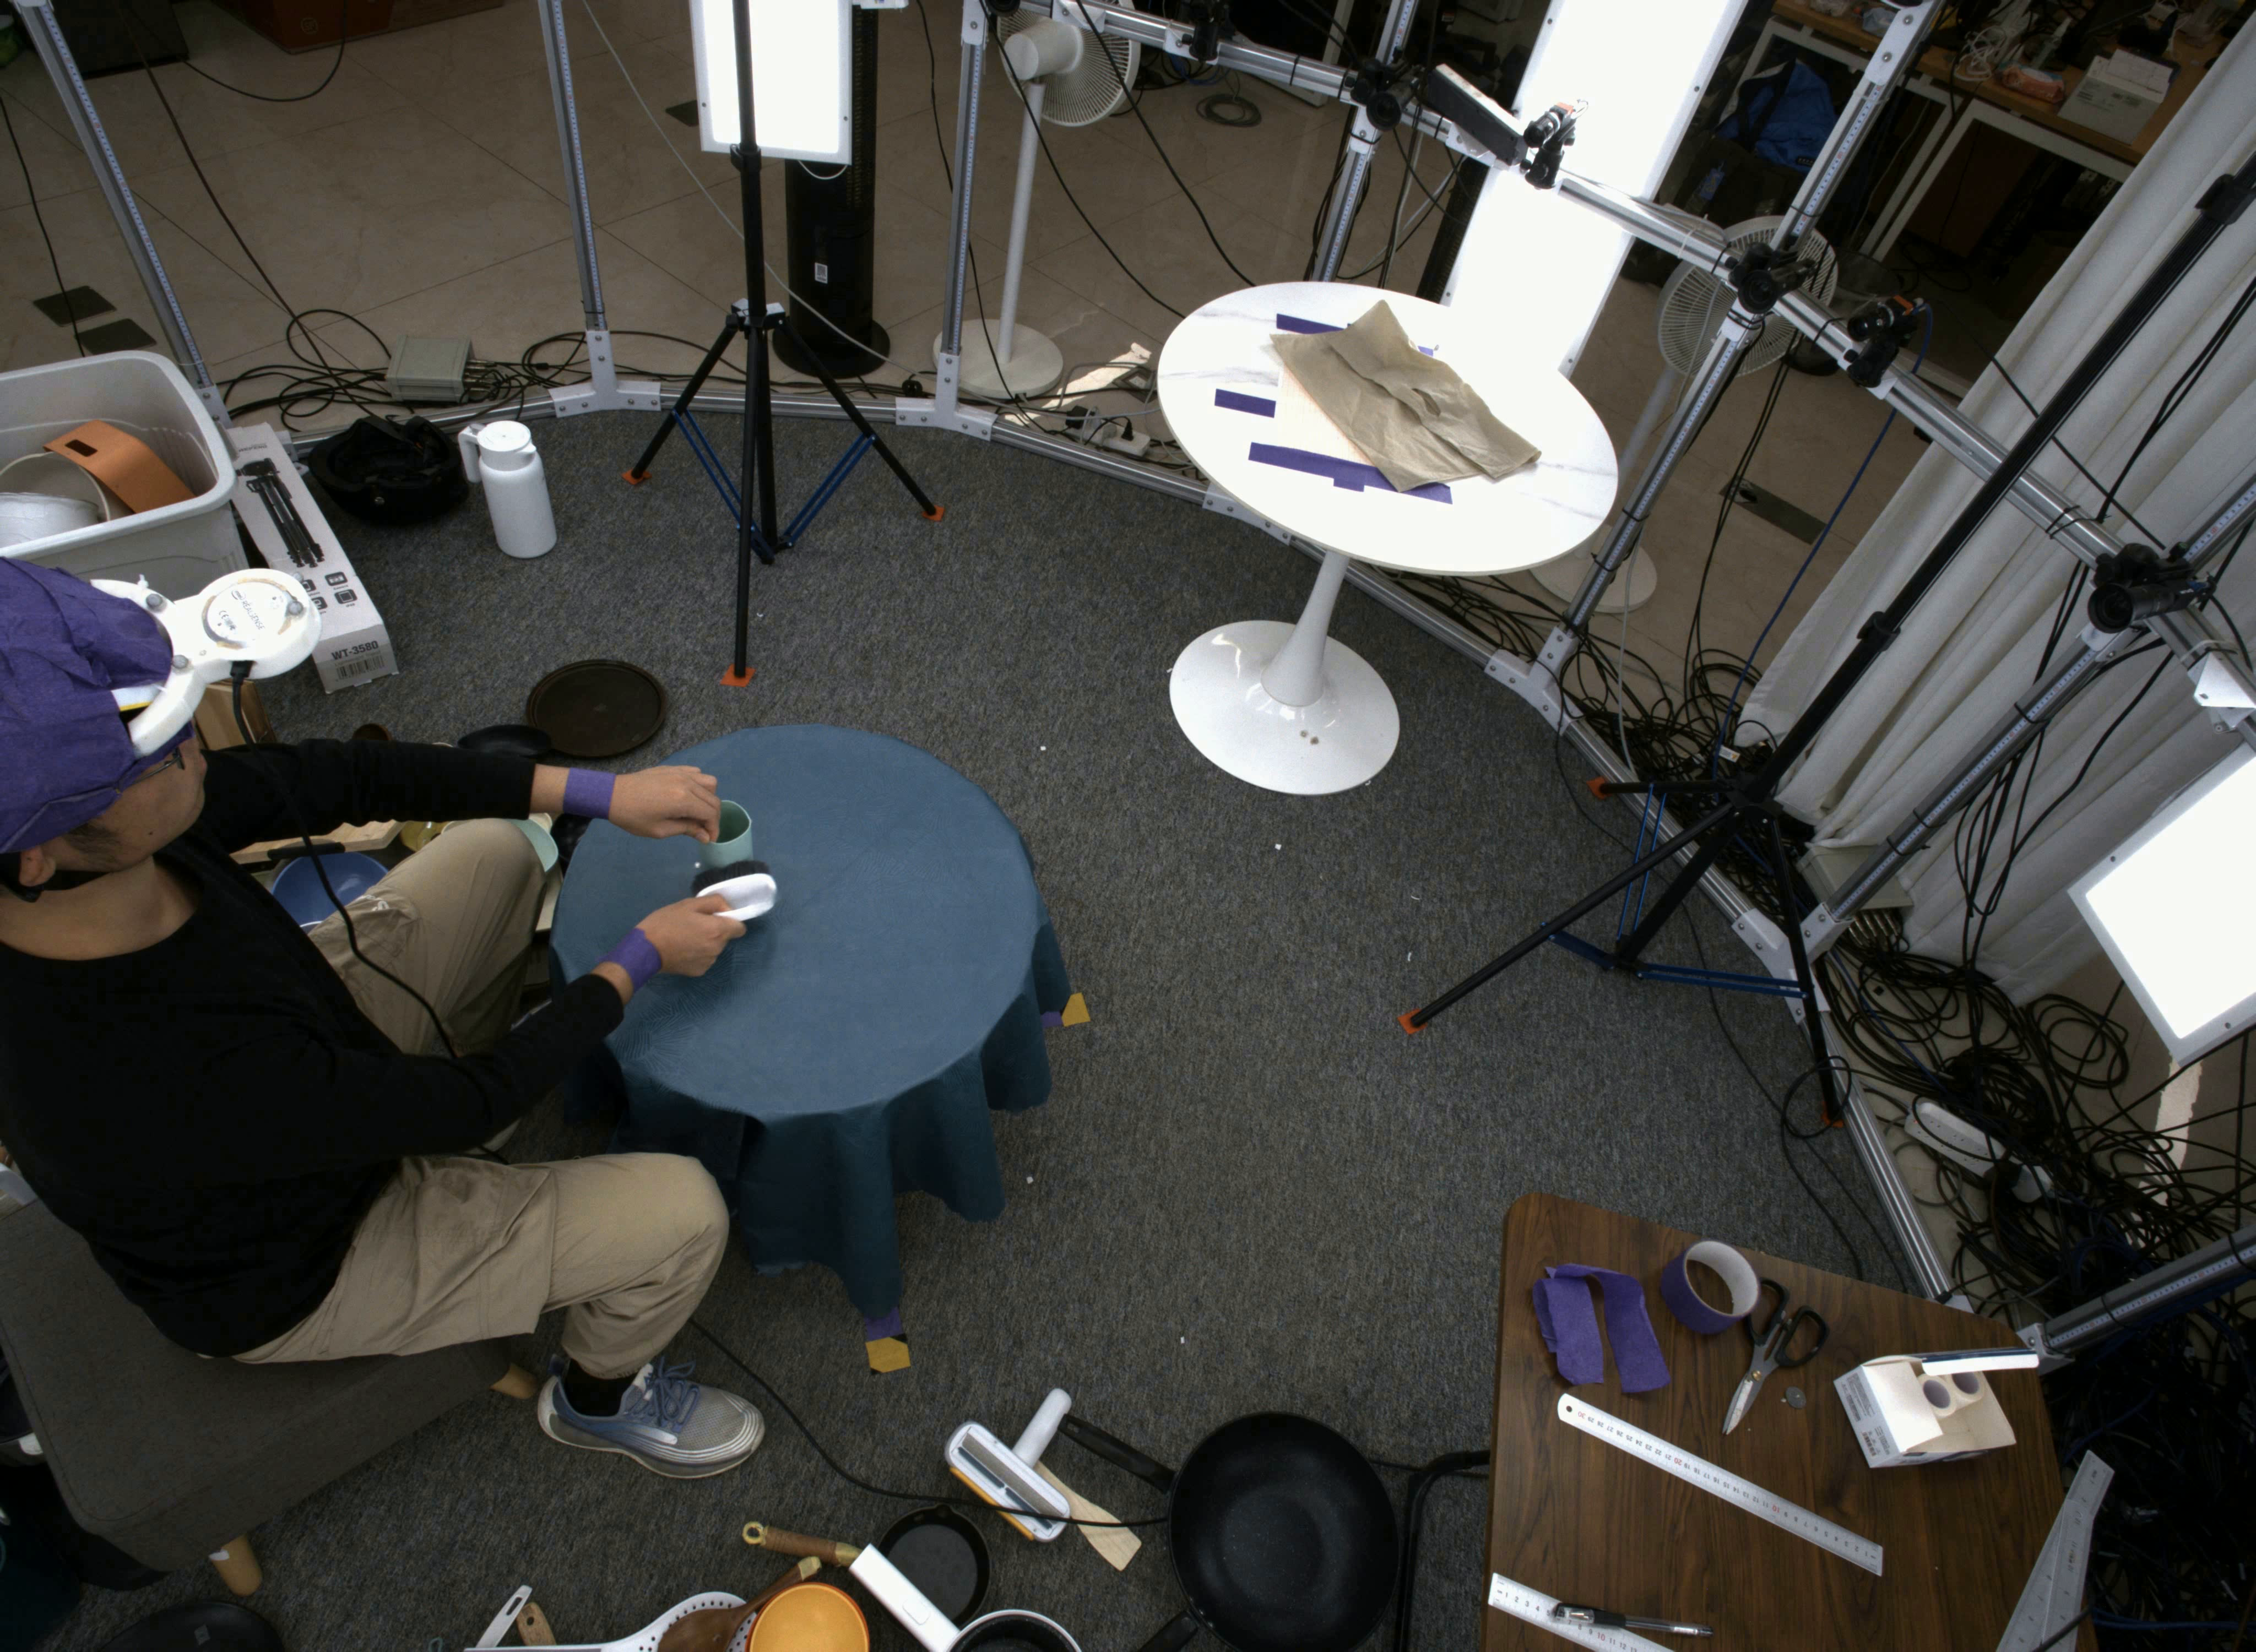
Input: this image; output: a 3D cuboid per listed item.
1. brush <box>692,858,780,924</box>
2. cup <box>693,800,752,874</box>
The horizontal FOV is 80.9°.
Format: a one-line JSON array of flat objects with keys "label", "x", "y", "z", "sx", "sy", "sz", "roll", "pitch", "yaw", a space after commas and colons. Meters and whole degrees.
[{"label": "brush", "x": -0.471, "y": 0.084, "z": 1.565, "sx": 0.100, "sy": 0.051, "sz": 0.070, "roll": -14, "pitch": 45, "yaw": -26}, {"label": "cup", "x": -0.500, "y": 0.035, "z": 1.603, "sx": 0.066, "sy": 0.135, "sz": 0.065, "roll": 7, "pitch": 51, "yaw": -7}]
